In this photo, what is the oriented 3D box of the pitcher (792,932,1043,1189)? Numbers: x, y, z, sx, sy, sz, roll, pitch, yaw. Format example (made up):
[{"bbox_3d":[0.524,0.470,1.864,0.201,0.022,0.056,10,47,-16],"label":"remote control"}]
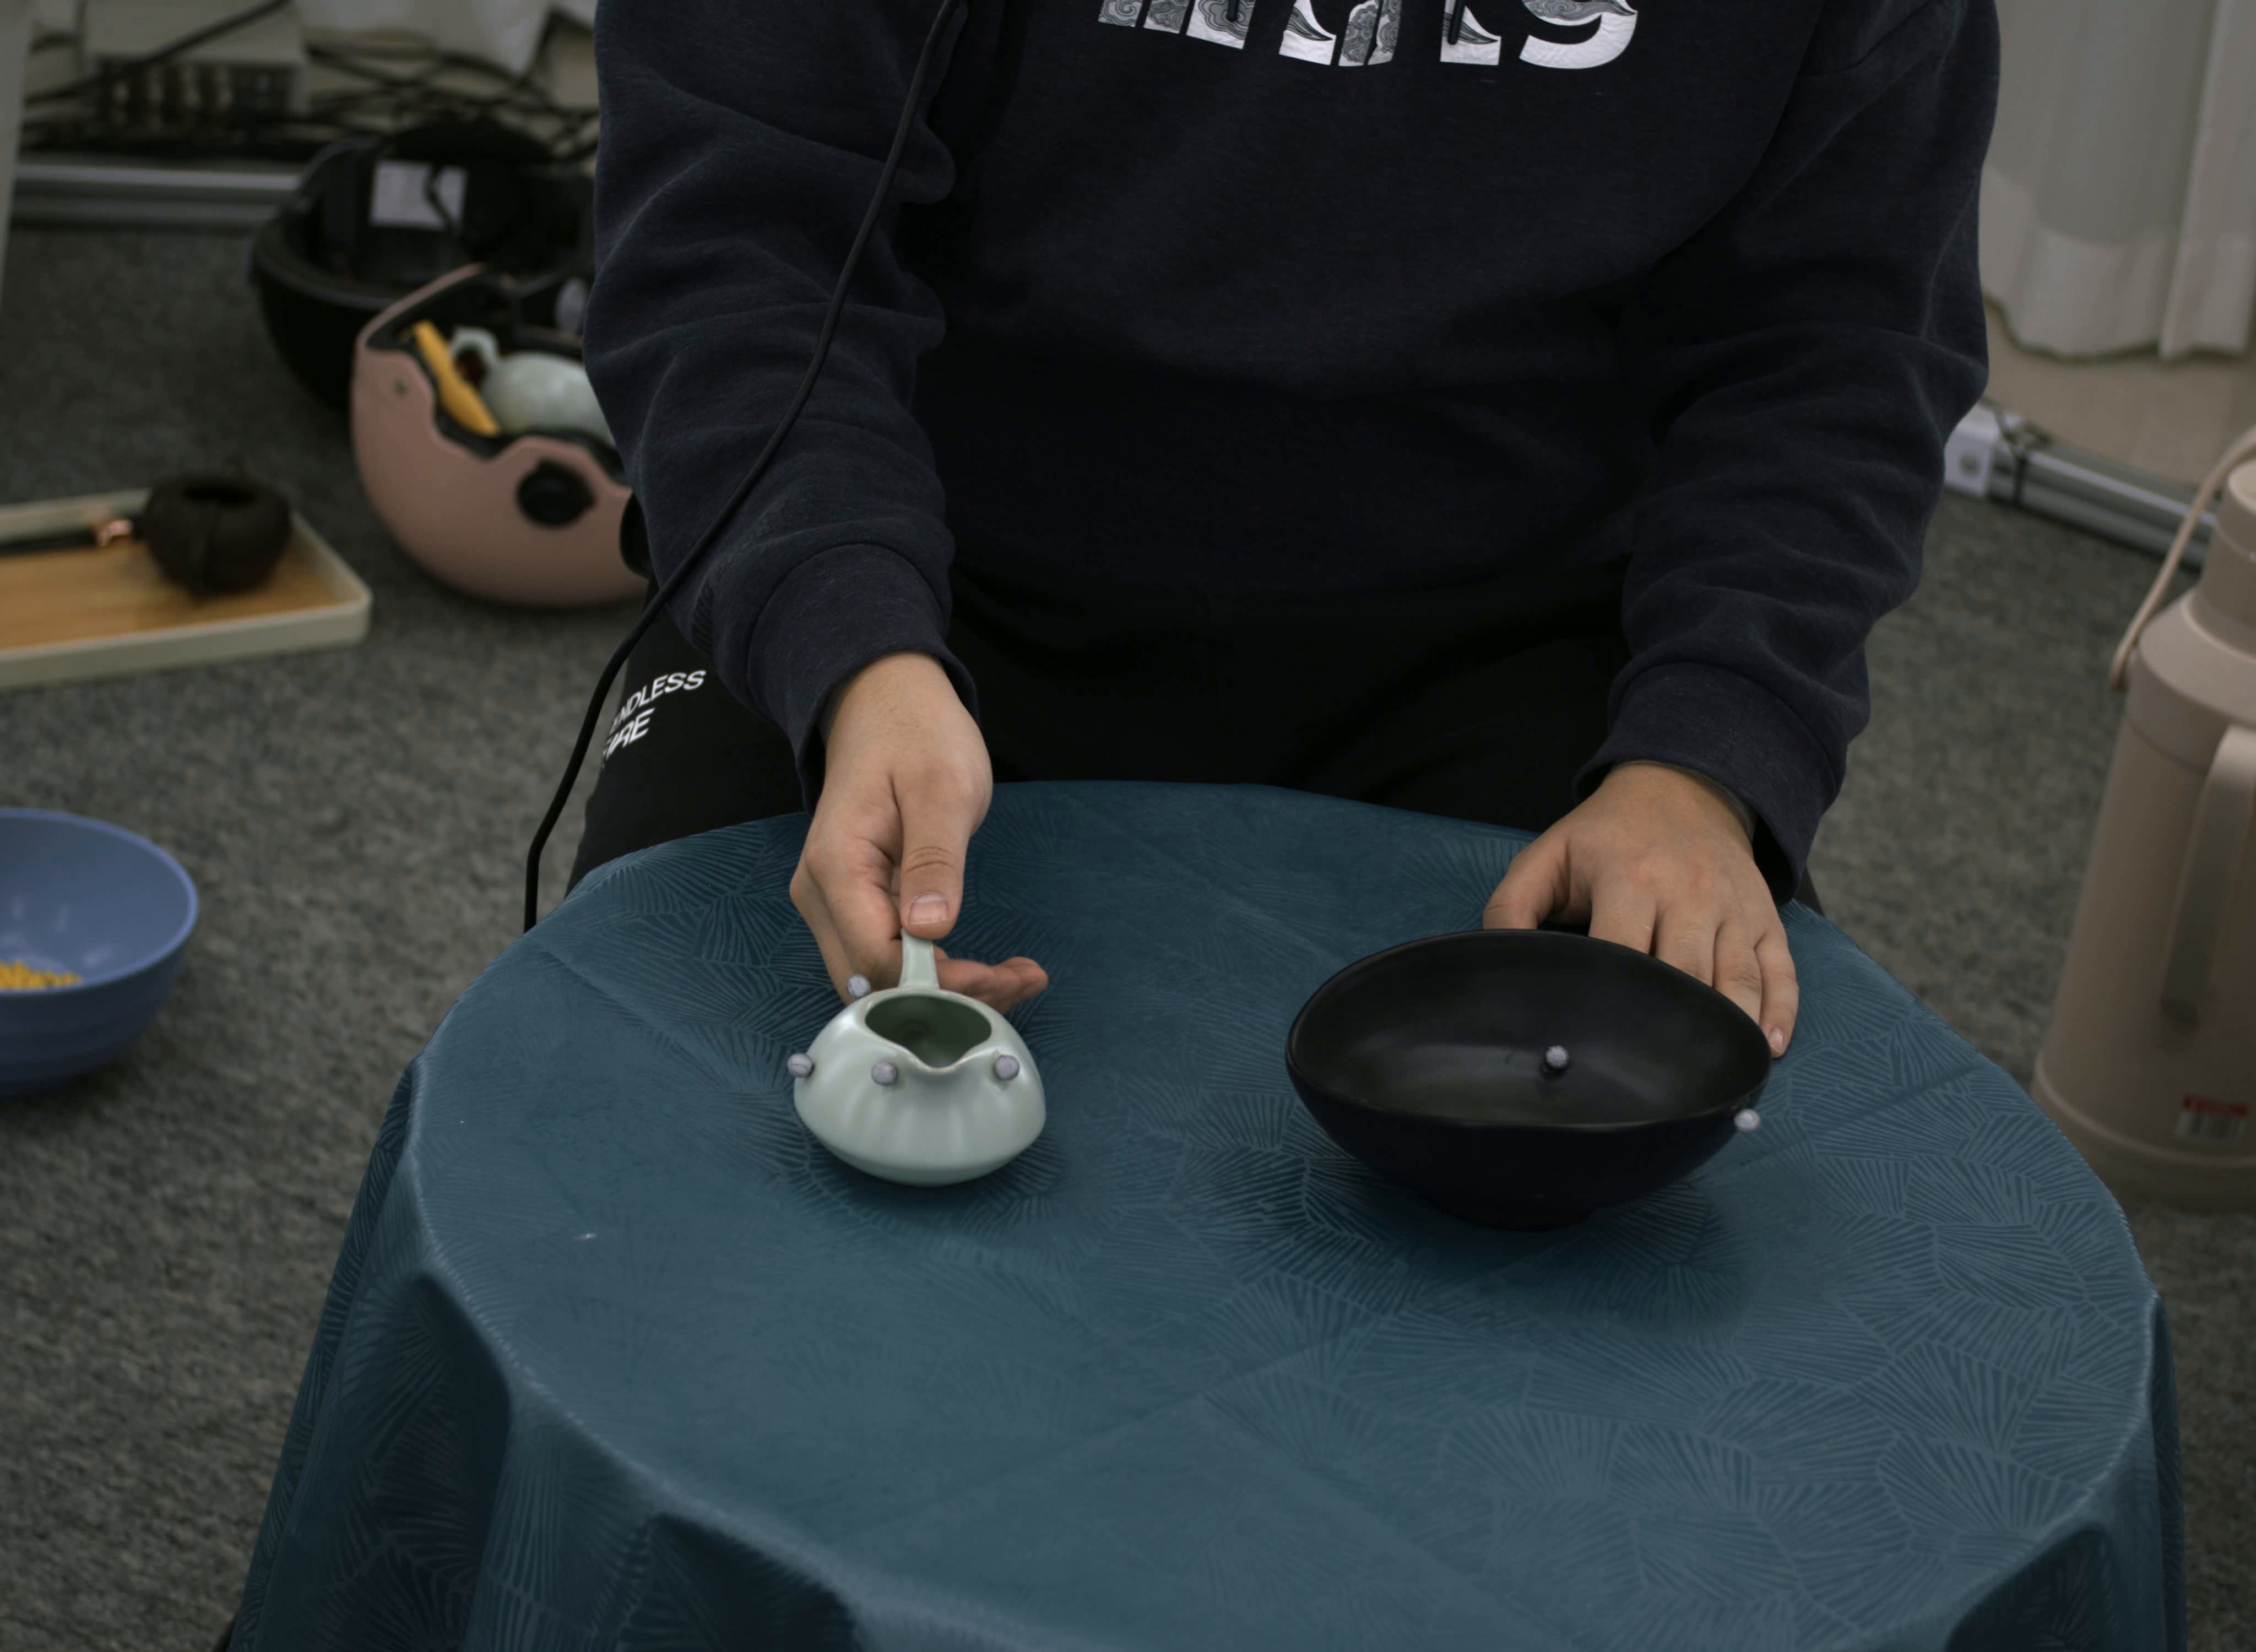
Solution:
[{"bbox_3d":[-0.072,0.081,1.812,0.085,0.060,0.109,3,25,-10],"label":"pitcher"}]

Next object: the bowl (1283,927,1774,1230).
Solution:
[{"bbox_3d":[0.136,0.096,1.825,0.169,0.066,0.138,-2,27,-16],"label":"bowl"}]
